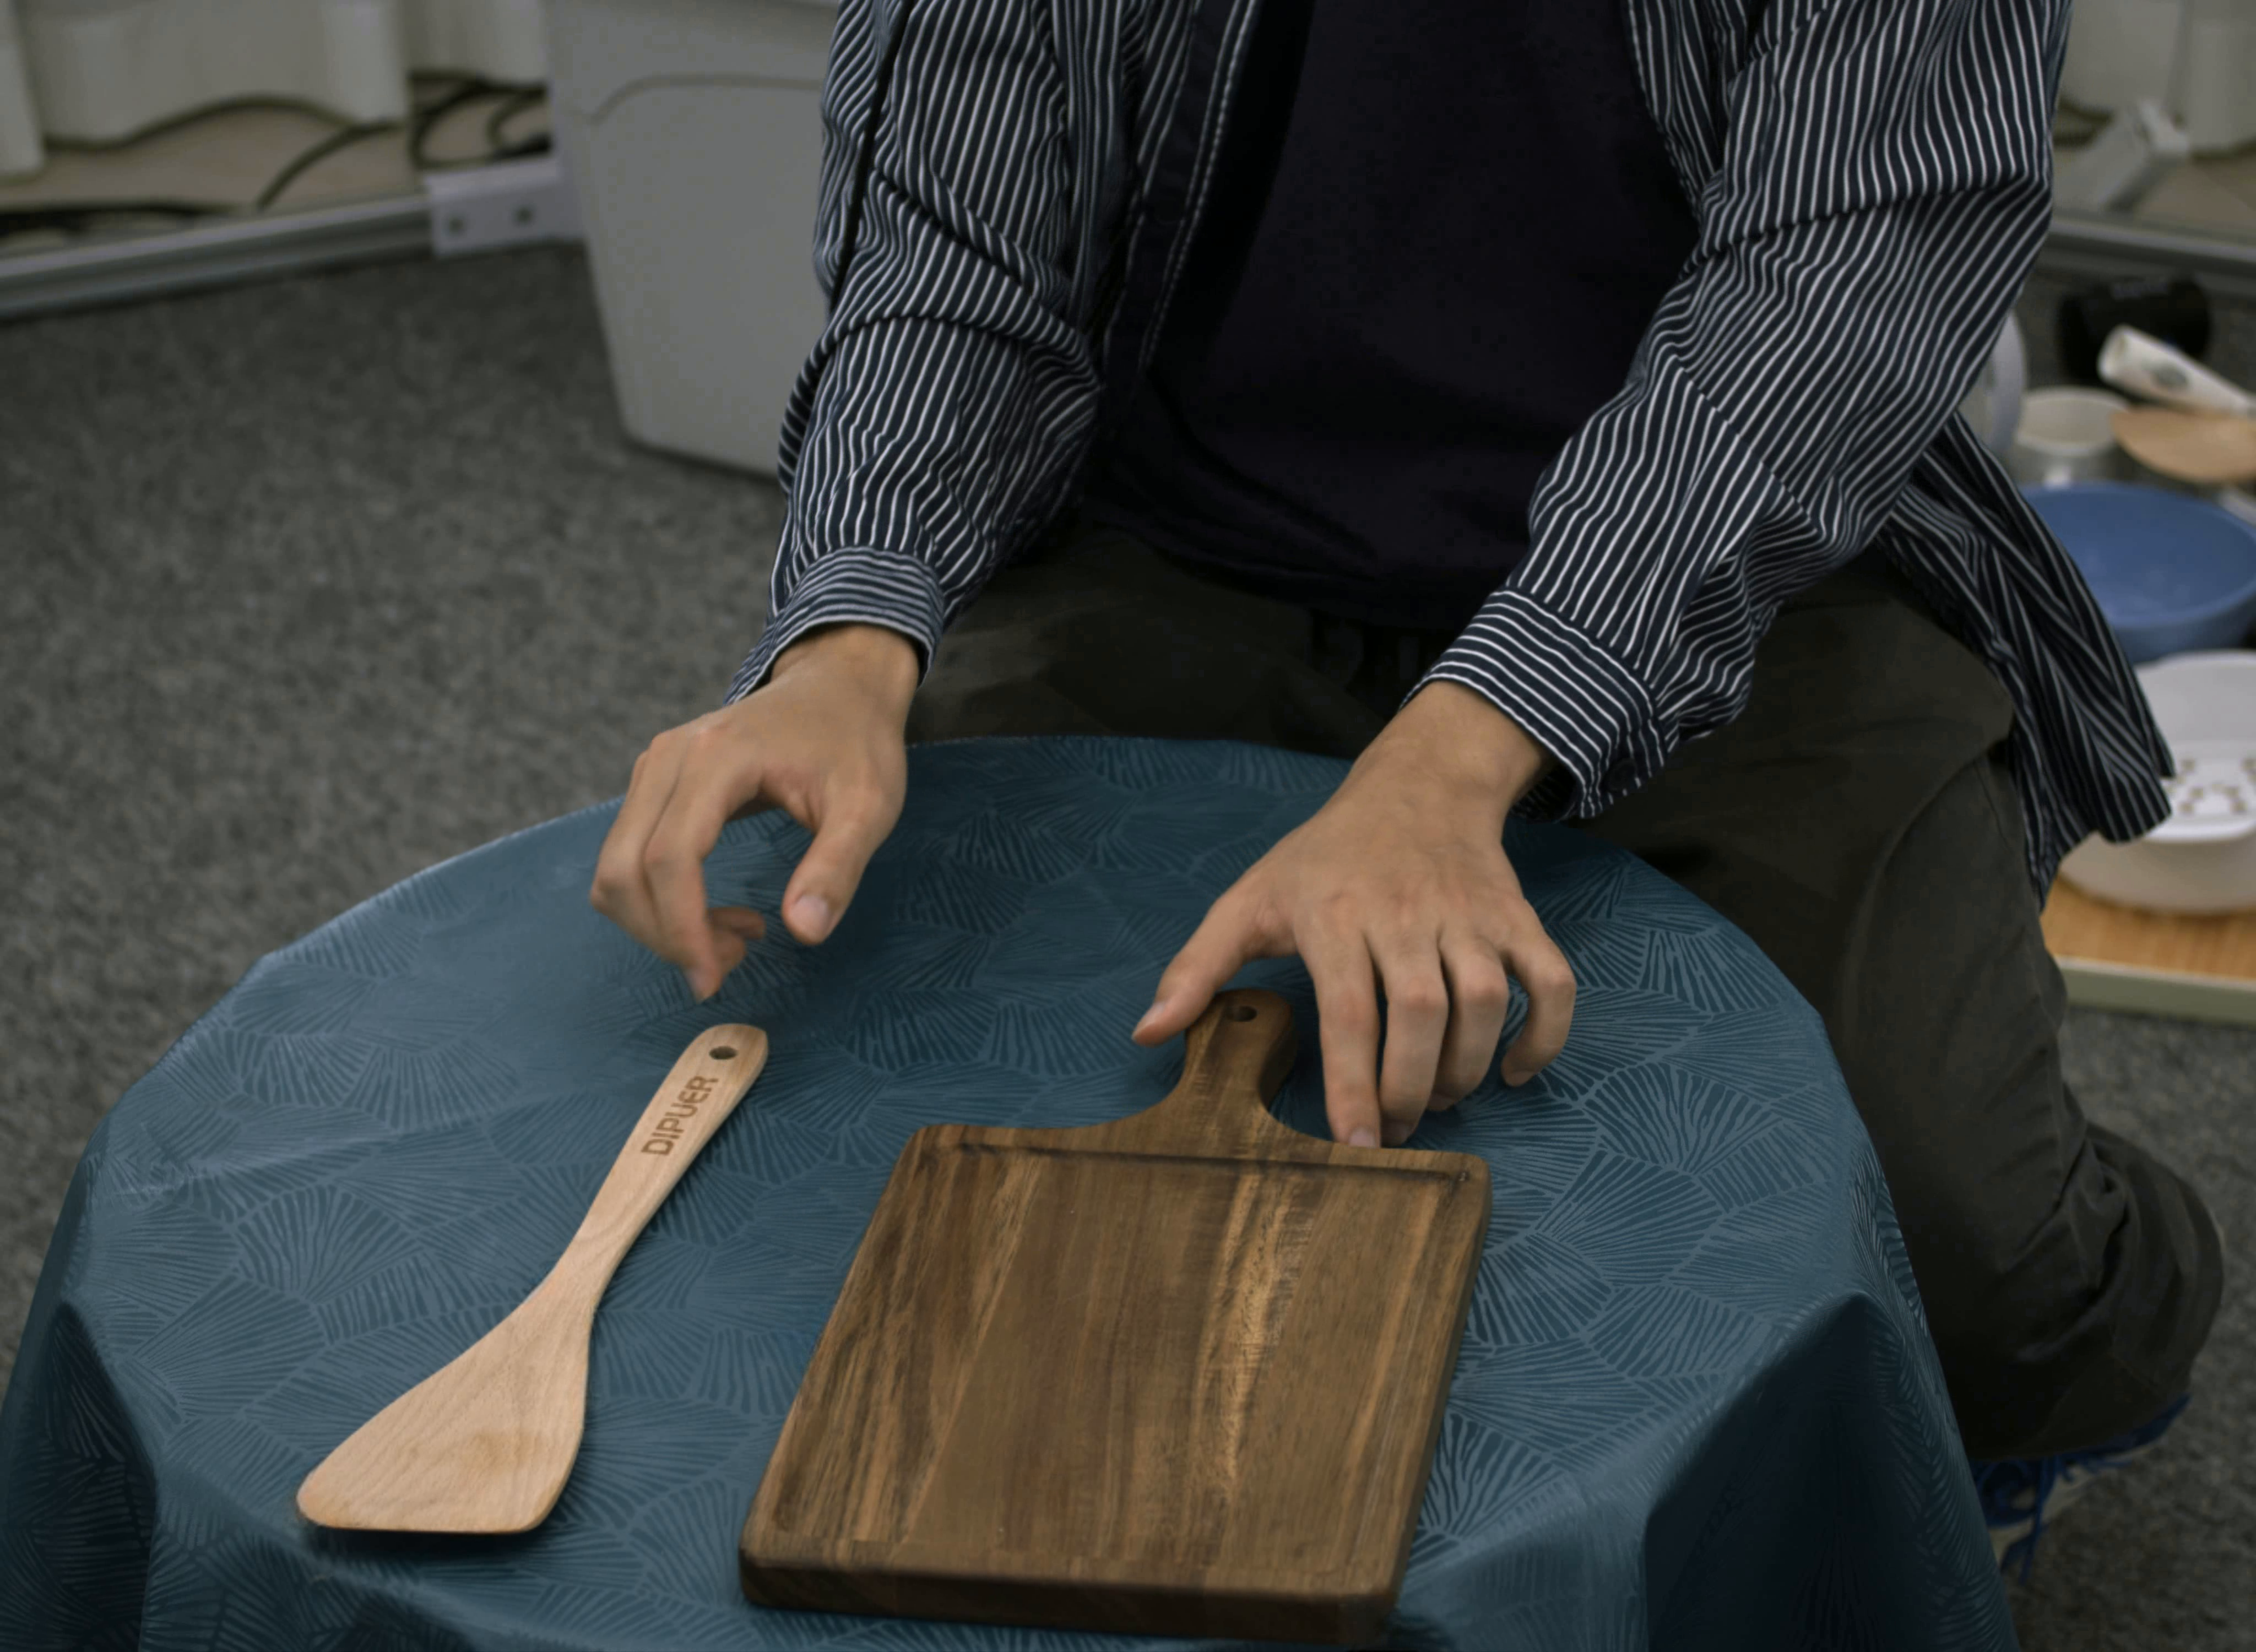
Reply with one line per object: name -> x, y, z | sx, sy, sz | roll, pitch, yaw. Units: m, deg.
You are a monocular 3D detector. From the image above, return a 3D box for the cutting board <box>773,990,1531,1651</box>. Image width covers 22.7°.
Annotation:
cutting board -> 0.022, 0.147, 1.782 | 0.200, 0.023, 0.358 | 3, 28, 11

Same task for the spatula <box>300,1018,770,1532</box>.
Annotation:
spatula -> -0.173, 0.142, 1.817 | 0.079, 0.016, 0.333 | 5, 29, 13
